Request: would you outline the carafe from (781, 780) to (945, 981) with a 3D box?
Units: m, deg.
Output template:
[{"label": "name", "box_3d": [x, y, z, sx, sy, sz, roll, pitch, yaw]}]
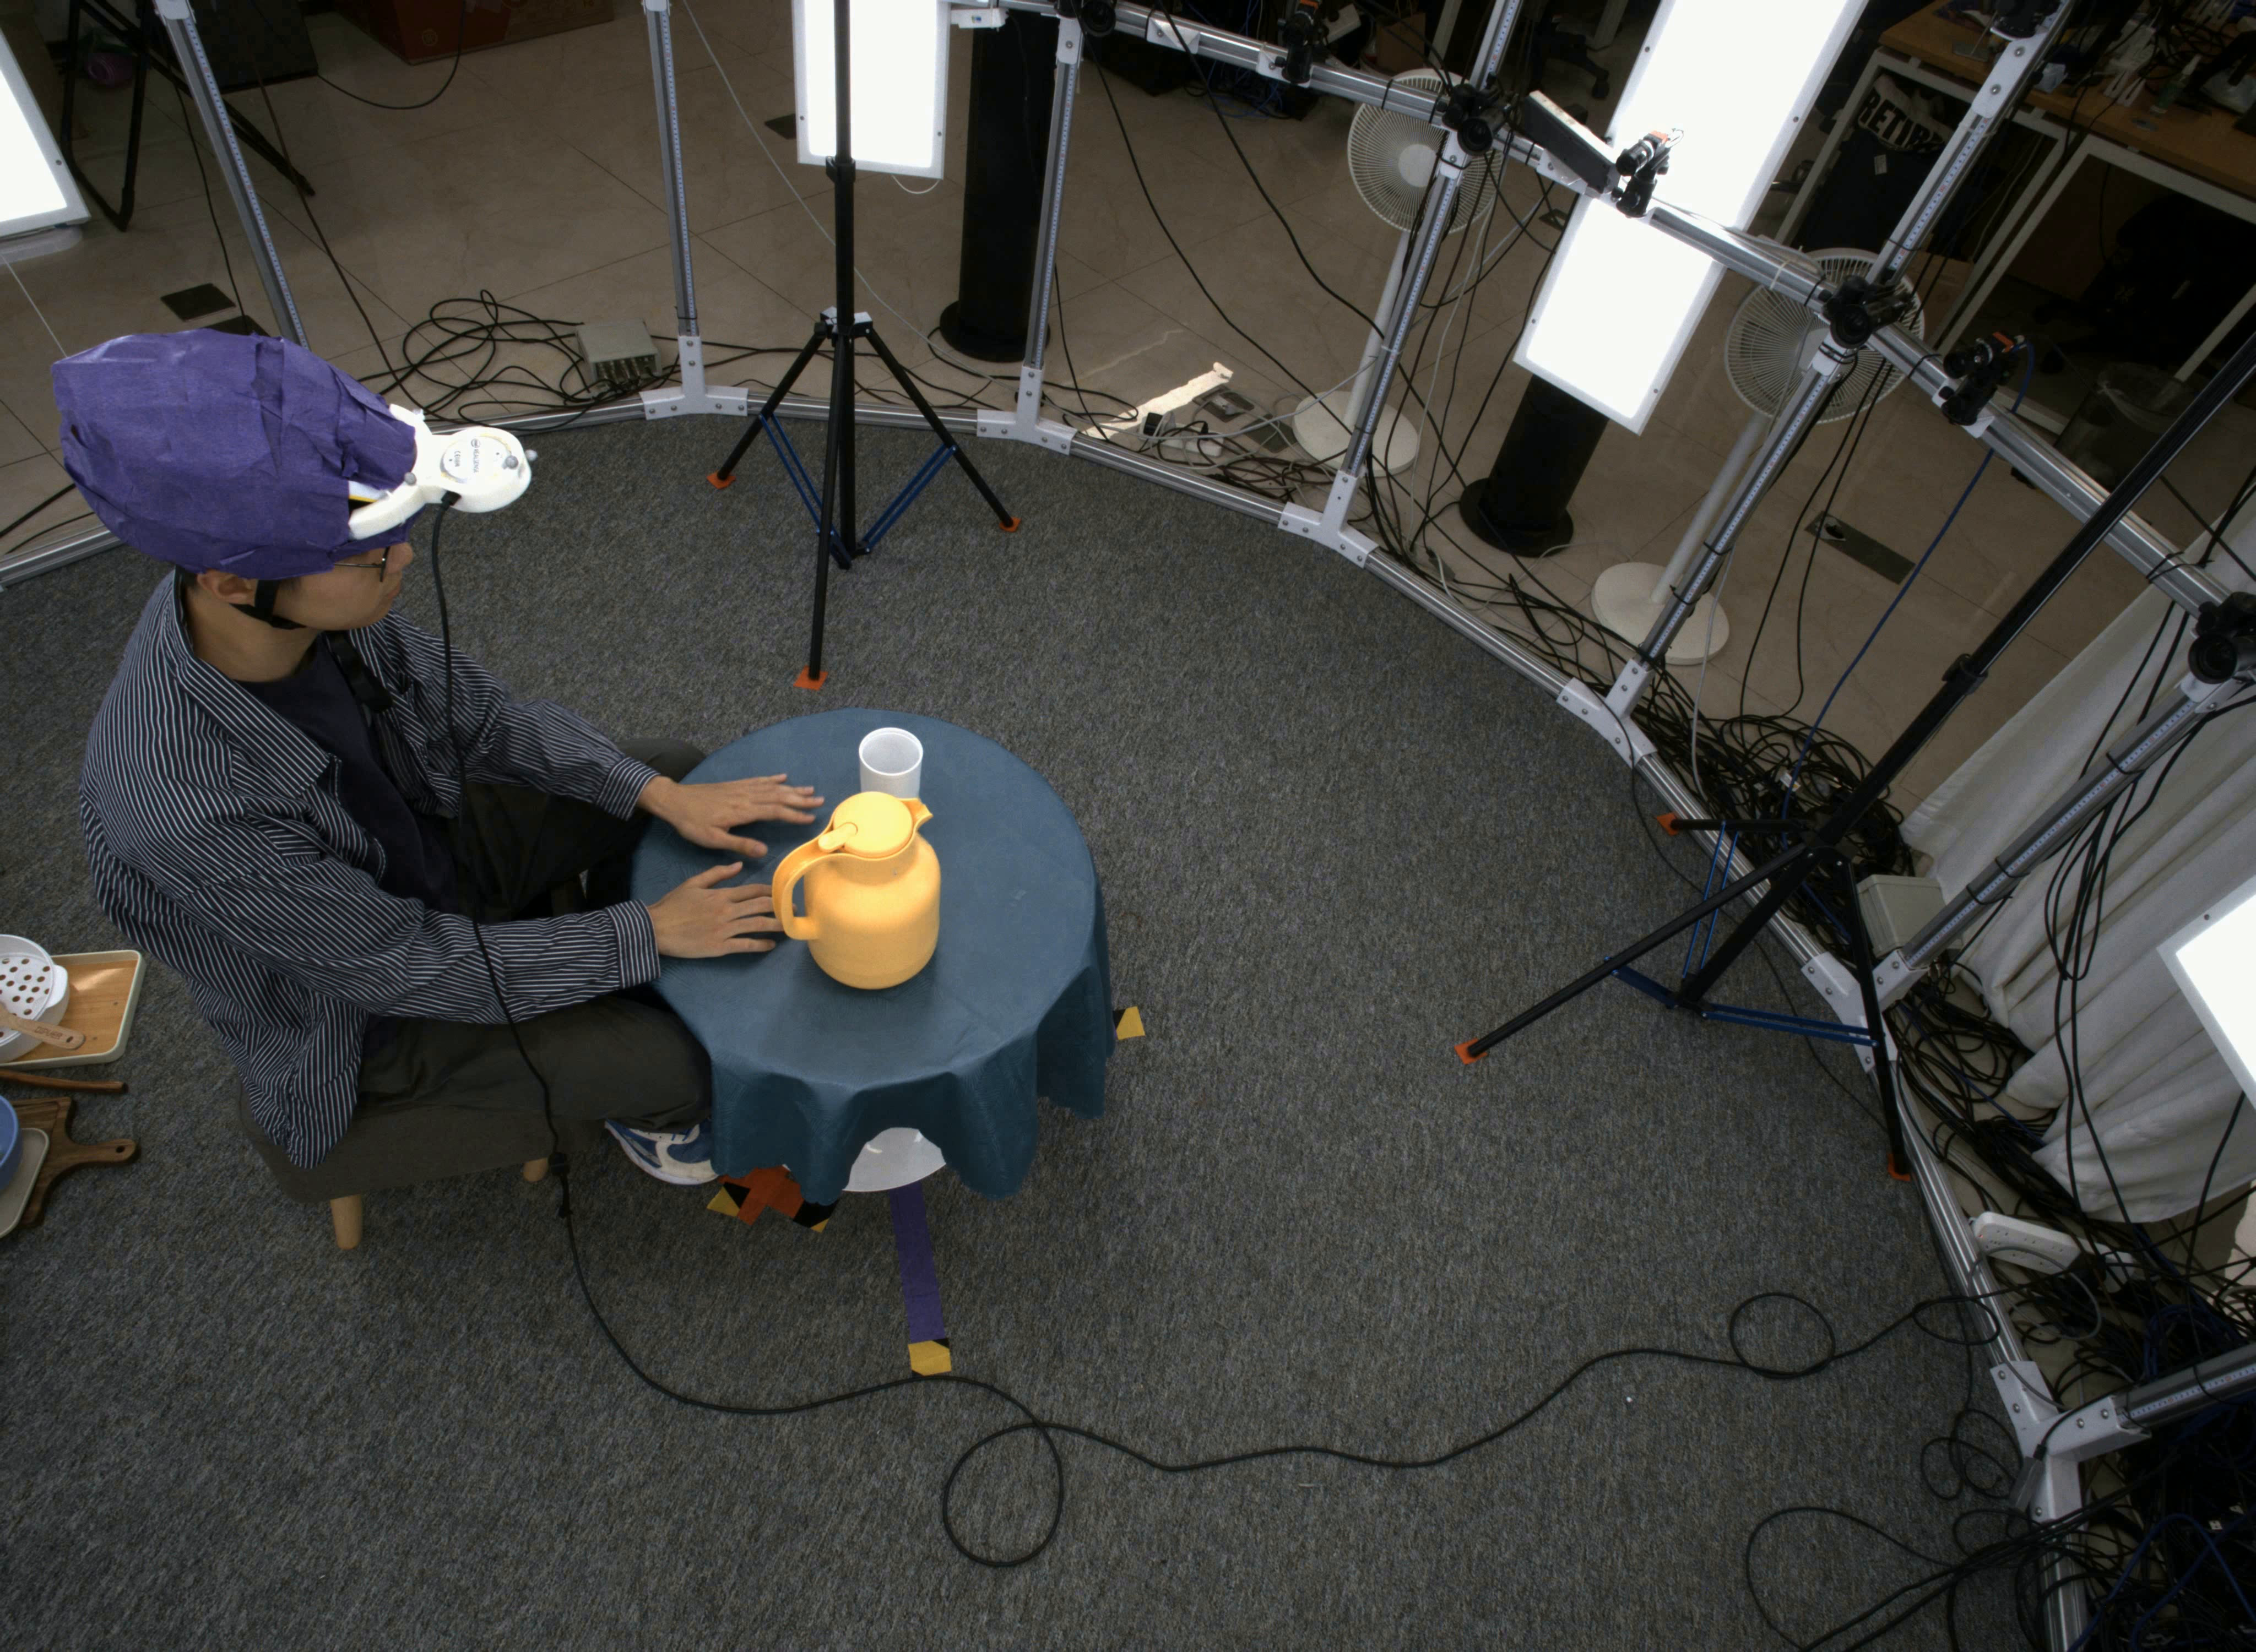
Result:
[{"label": "carafe", "box_3d": [-0.317, 0.065, 1.552, 0.203, 0.266, 0.159, -27, 60, -28]}]

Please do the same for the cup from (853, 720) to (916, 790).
[{"label": "cup", "box_3d": [-0.325, -0.069, 1.732, 0.081, 0.128, 0.080, 6, 52, -7]}]
